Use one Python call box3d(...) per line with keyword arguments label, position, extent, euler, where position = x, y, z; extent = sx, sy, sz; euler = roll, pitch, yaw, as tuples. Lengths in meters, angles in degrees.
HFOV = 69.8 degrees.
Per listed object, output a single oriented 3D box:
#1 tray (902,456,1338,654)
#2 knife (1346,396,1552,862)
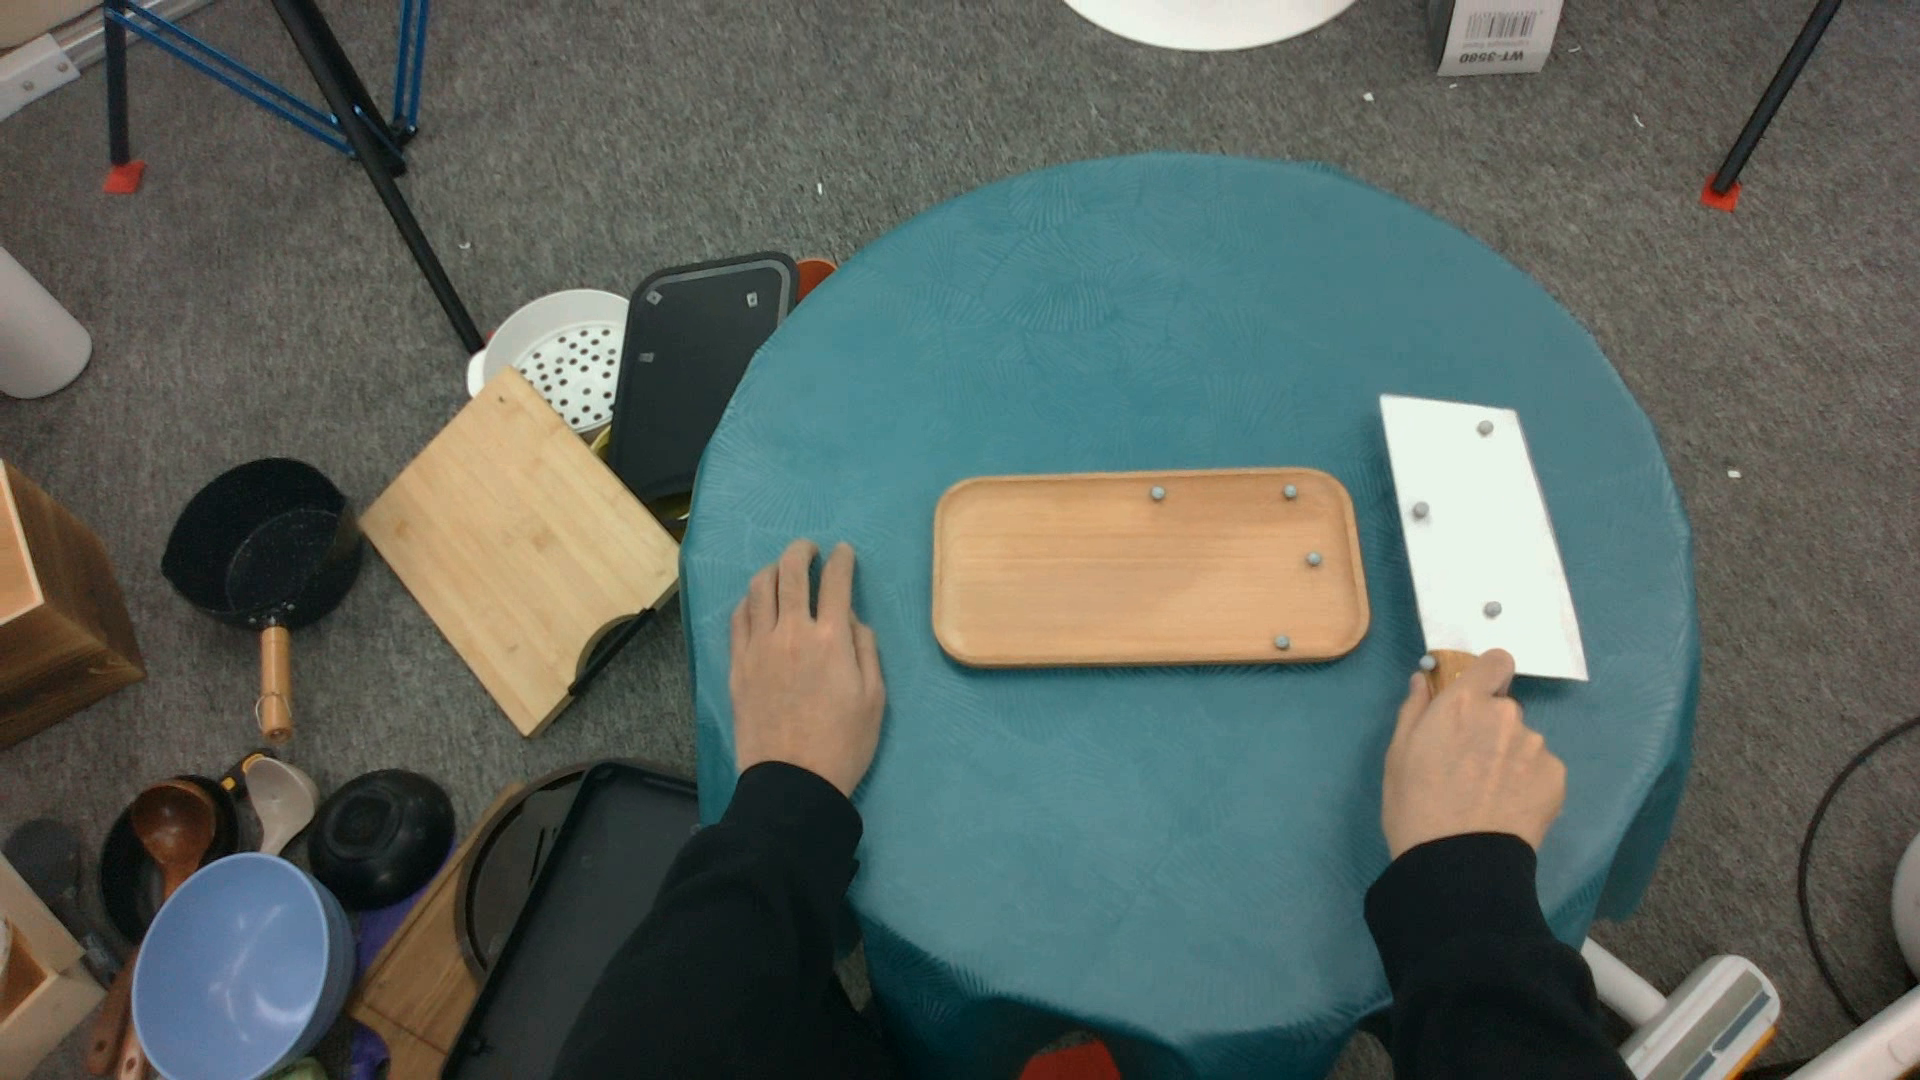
box3d(label="tray", position=(0.092, 0.009, 0.814), extent=(0.250, 0.023, 0.131), euler=(0, 58, 4))
box3d(label="knife", position=(0.281, 0.036, 0.773), extent=(0.093, 0.021, 0.307), euler=(5, 55, -5))
